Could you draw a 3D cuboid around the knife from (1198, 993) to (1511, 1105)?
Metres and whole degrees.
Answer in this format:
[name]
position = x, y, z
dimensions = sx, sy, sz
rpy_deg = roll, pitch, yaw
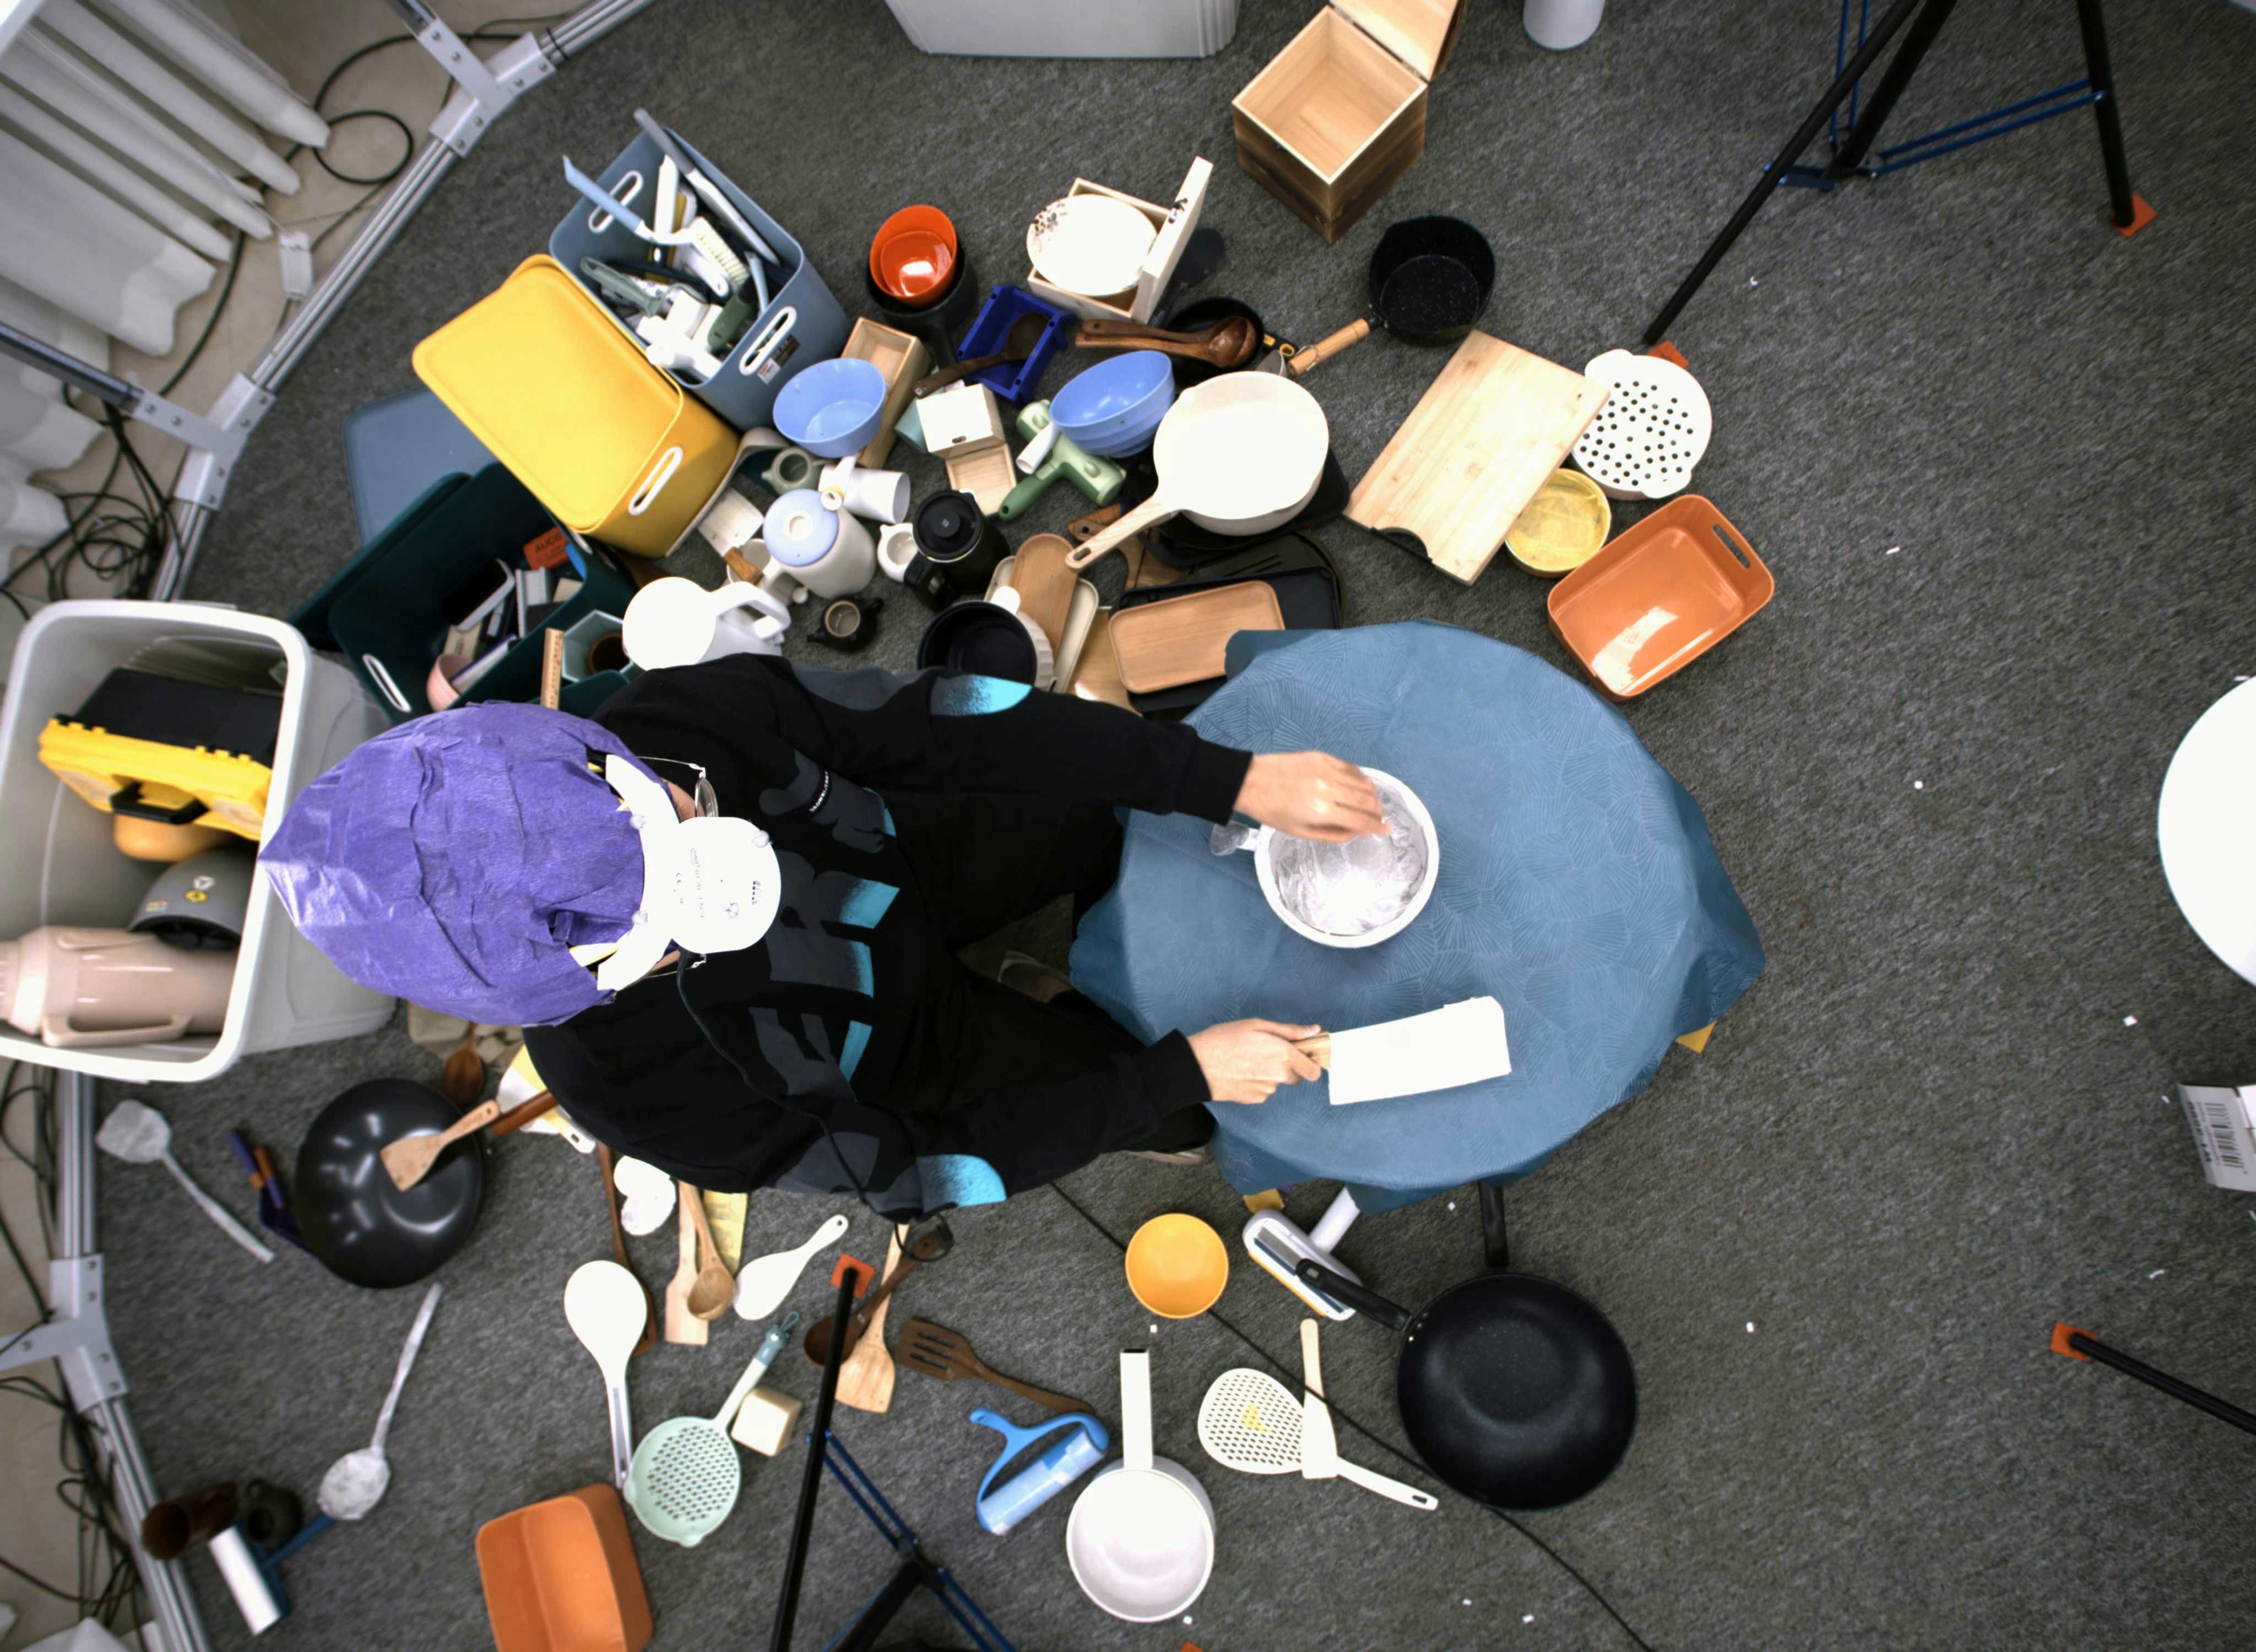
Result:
[knife]
position = 0.227, 0.228, 1.376
dimensions = 0.316, 0.021, 0.116
rpy_deg = -7, 118, 0

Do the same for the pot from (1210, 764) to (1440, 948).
[pot]
position = 0.195, 0.029, 1.407
dimensions = 0.234, 0.137, 0.178
rpy_deg = 10, 87, 10
